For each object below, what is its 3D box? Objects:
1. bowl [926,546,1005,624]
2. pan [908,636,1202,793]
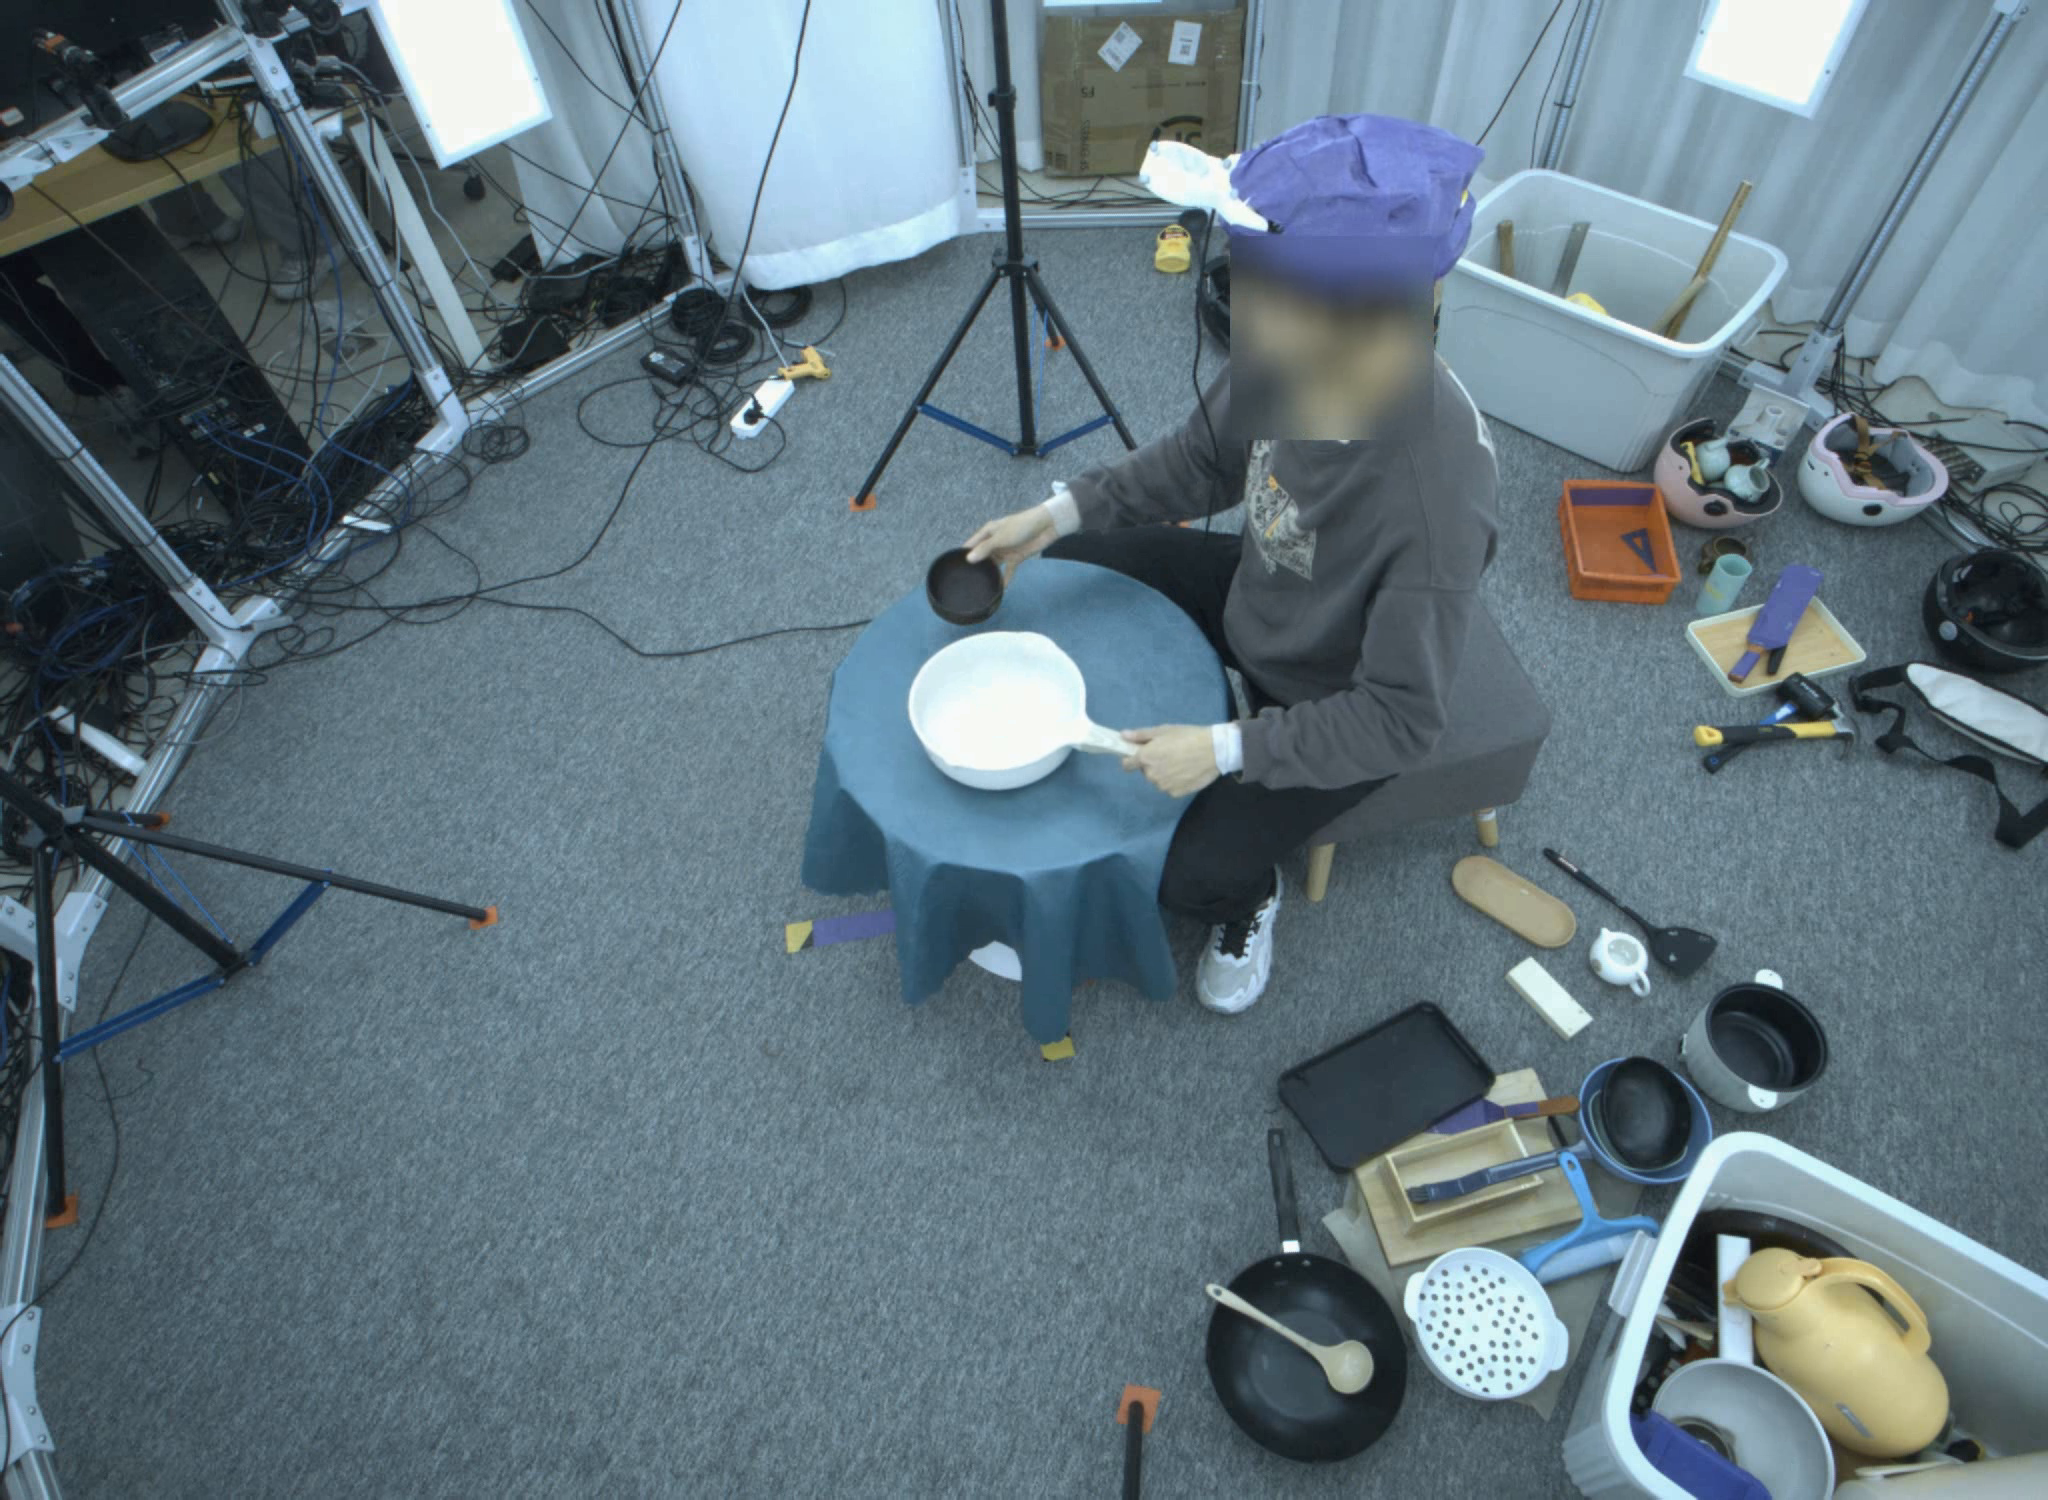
[{"bbox_3d":[-0.088,-0.242,1.850,0.118,0.070,0.117,1,69,-2],"label":"bowl"},{"bbox_3d":[0.043,-0.019,1.736,0.429,0.103,0.264,22,56,17],"label":"pan"}]
